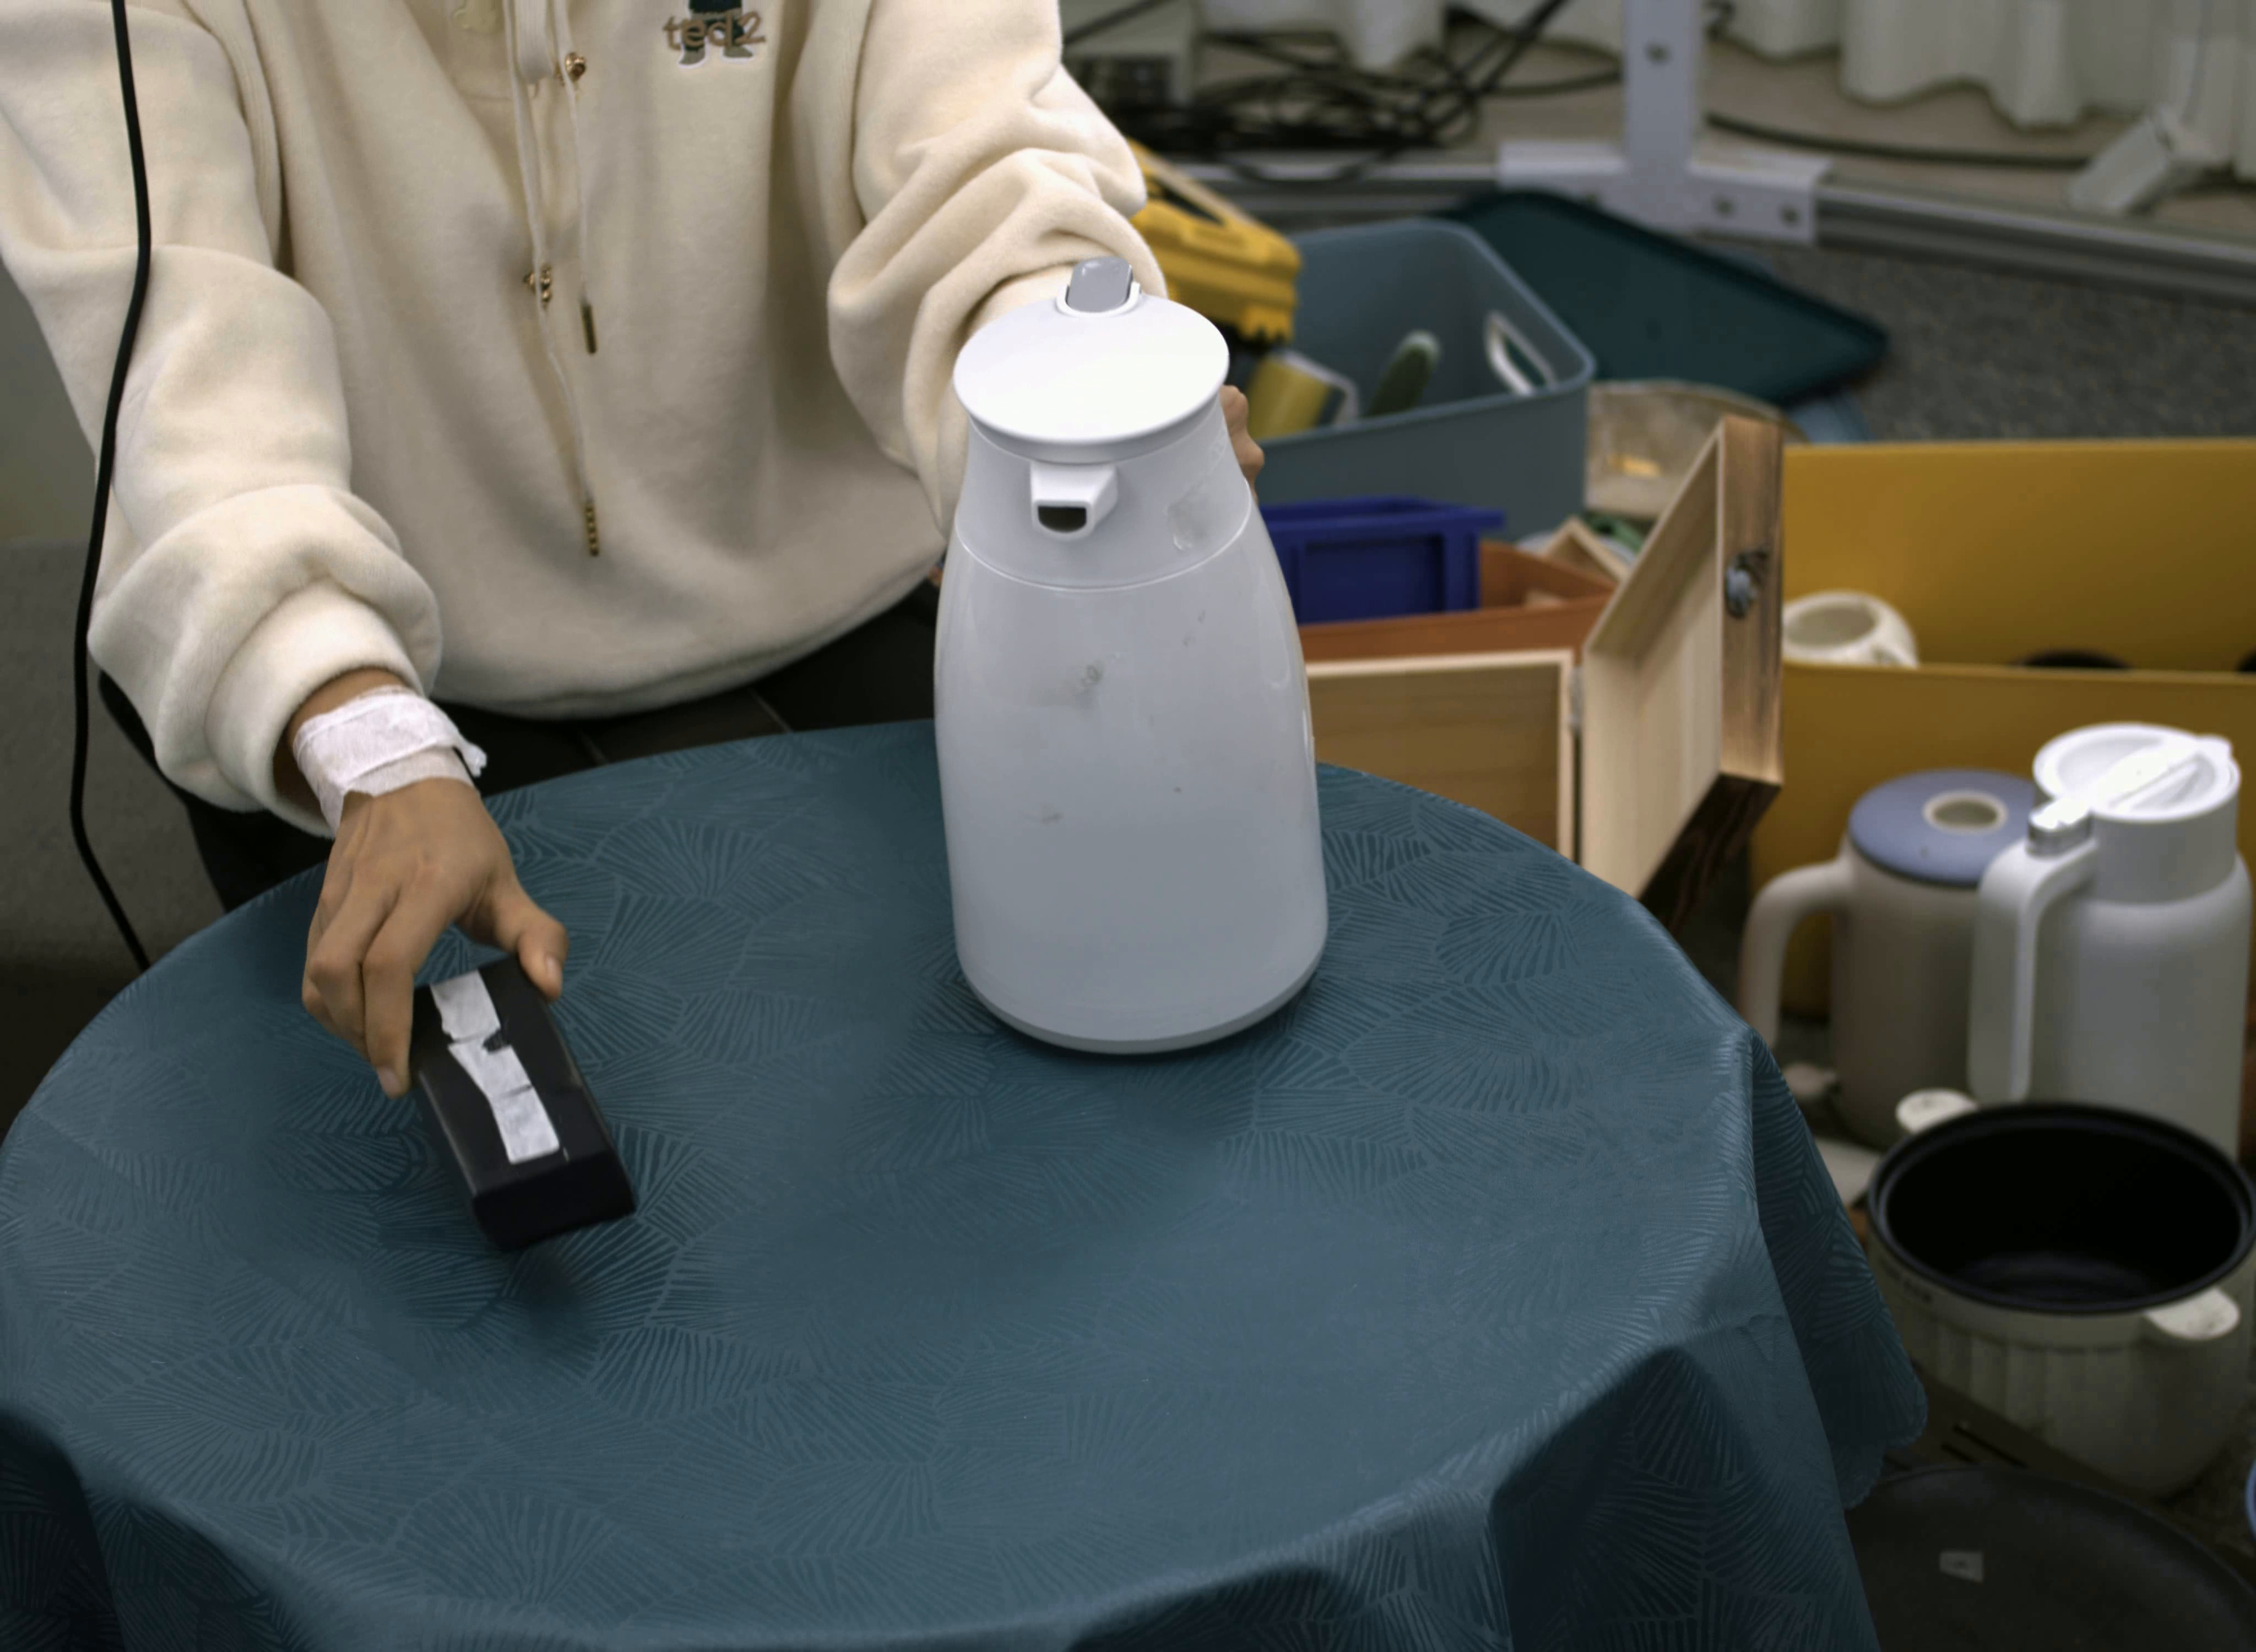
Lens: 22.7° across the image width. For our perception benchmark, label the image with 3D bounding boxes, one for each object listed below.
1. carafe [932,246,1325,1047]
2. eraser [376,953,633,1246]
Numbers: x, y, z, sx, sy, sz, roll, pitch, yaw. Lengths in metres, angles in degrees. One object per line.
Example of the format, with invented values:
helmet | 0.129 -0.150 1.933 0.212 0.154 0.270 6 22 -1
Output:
carafe | -0.003 -0.073 1.931 0.131 0.245 0.171 1 35 9
eraser | -0.204 0.089 1.838 0.053 0.030 0.127 -18 34 -14
